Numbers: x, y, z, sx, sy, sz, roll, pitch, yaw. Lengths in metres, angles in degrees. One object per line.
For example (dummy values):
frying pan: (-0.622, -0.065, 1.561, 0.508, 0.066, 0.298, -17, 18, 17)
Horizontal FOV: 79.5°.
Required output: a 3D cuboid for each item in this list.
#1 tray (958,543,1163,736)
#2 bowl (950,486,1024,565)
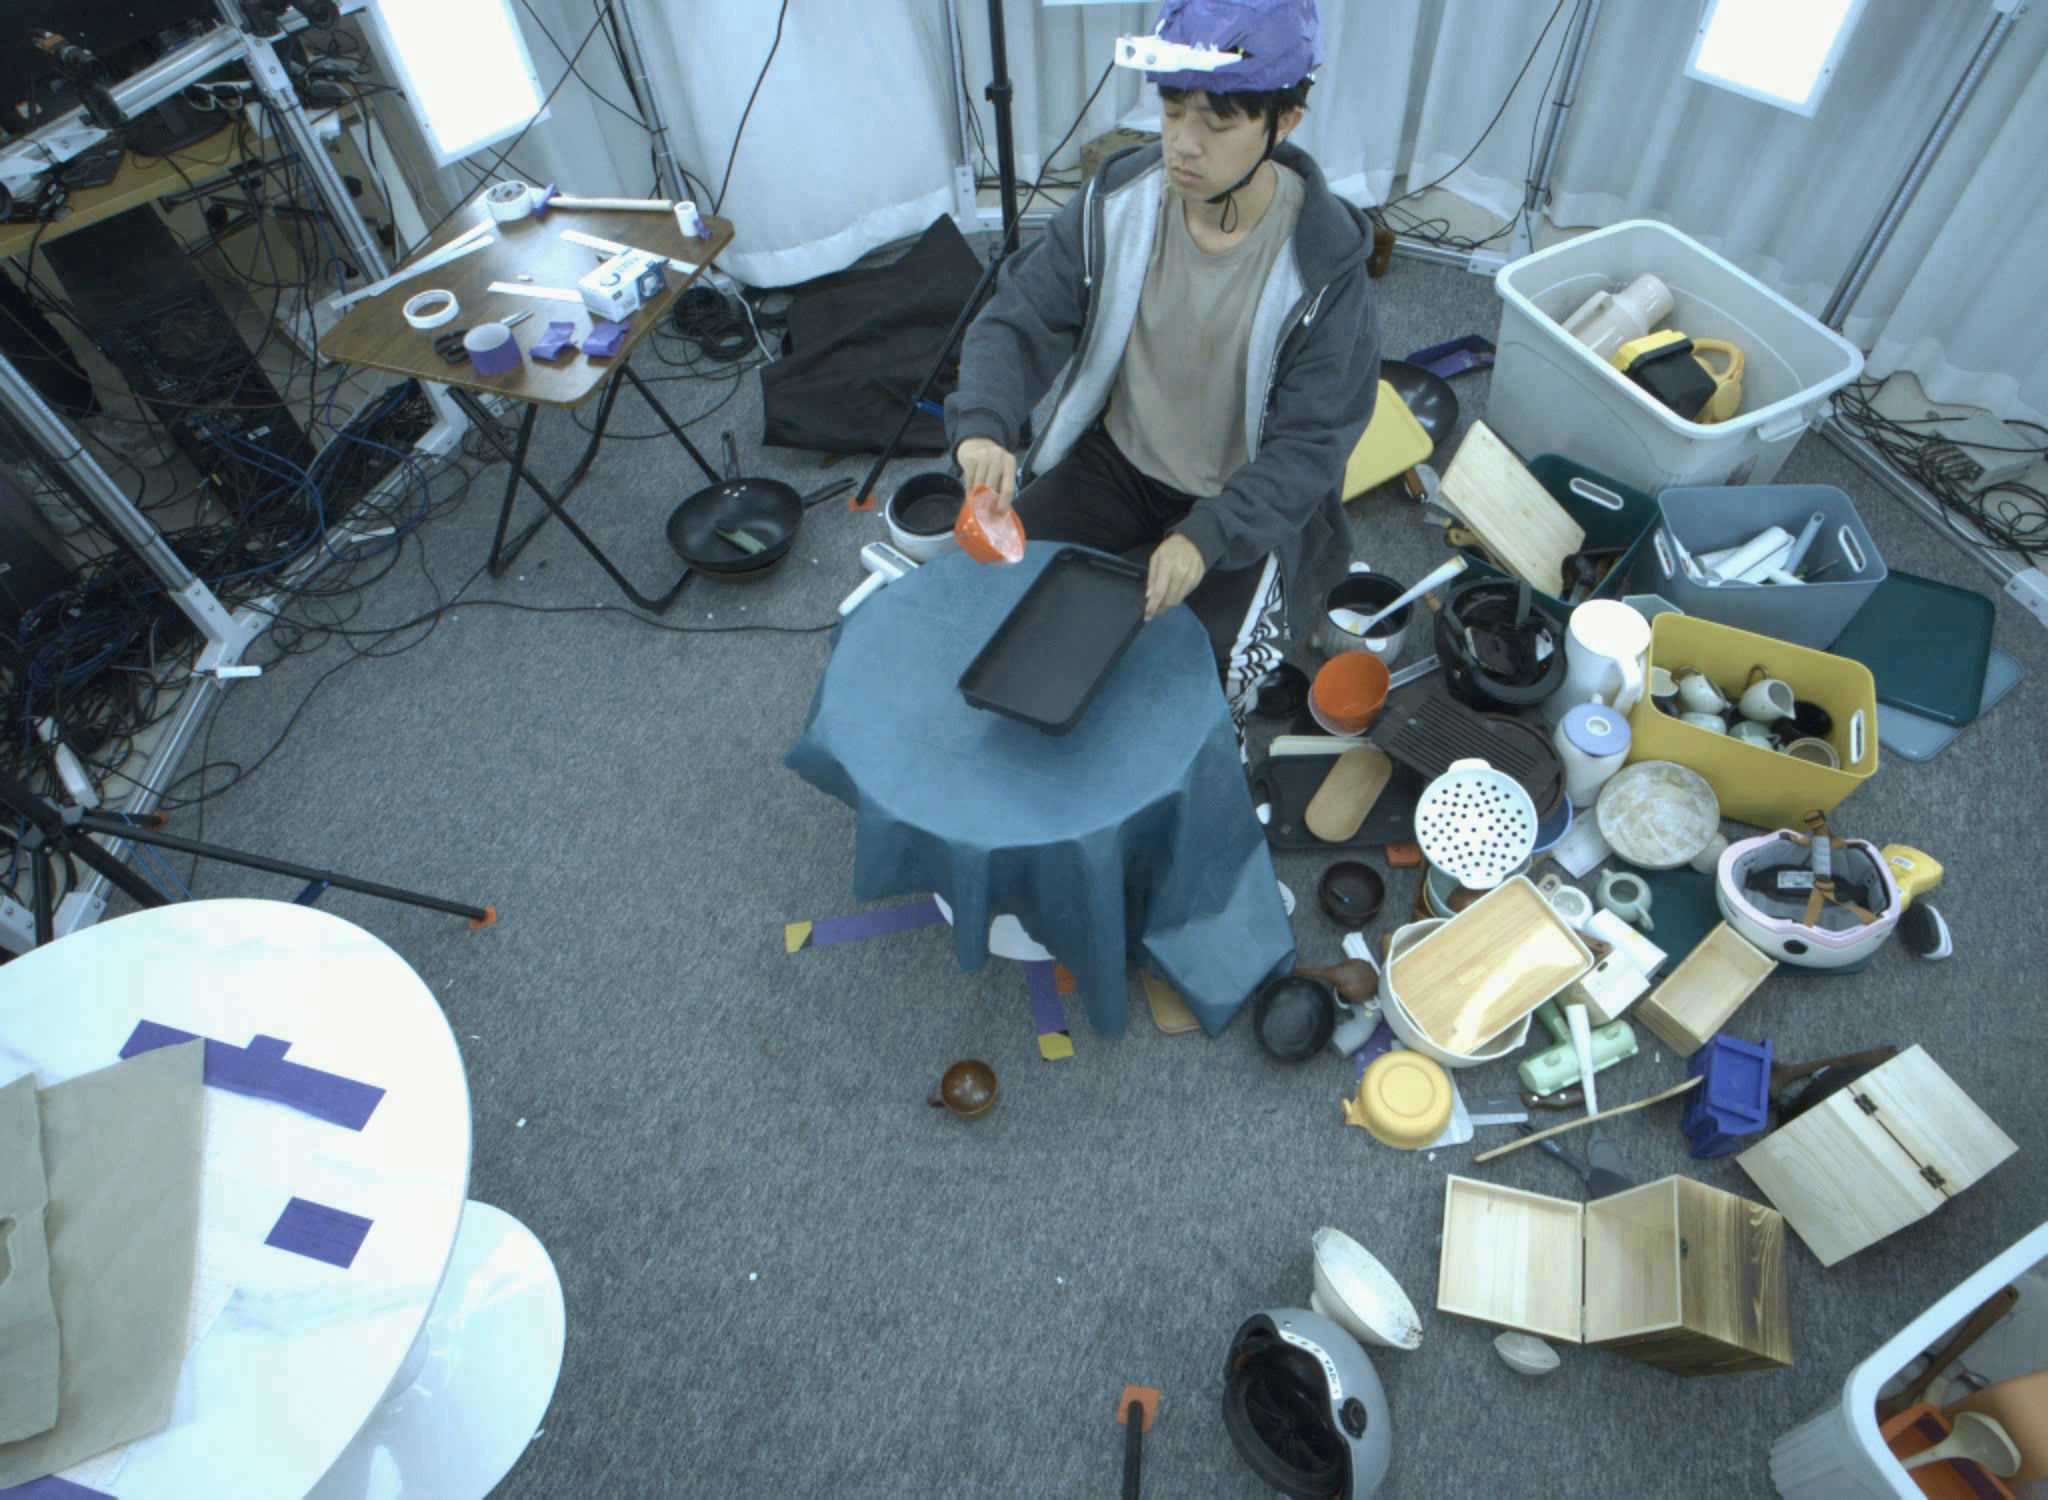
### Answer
tray: (0.057, -0.166, 1.779, 0.181, 0.037, 0.318, 21, 60, 23)
bowl: (-0.059, -0.301, 1.681, 0.121, 0.050, 0.118, 23, 54, -33)
